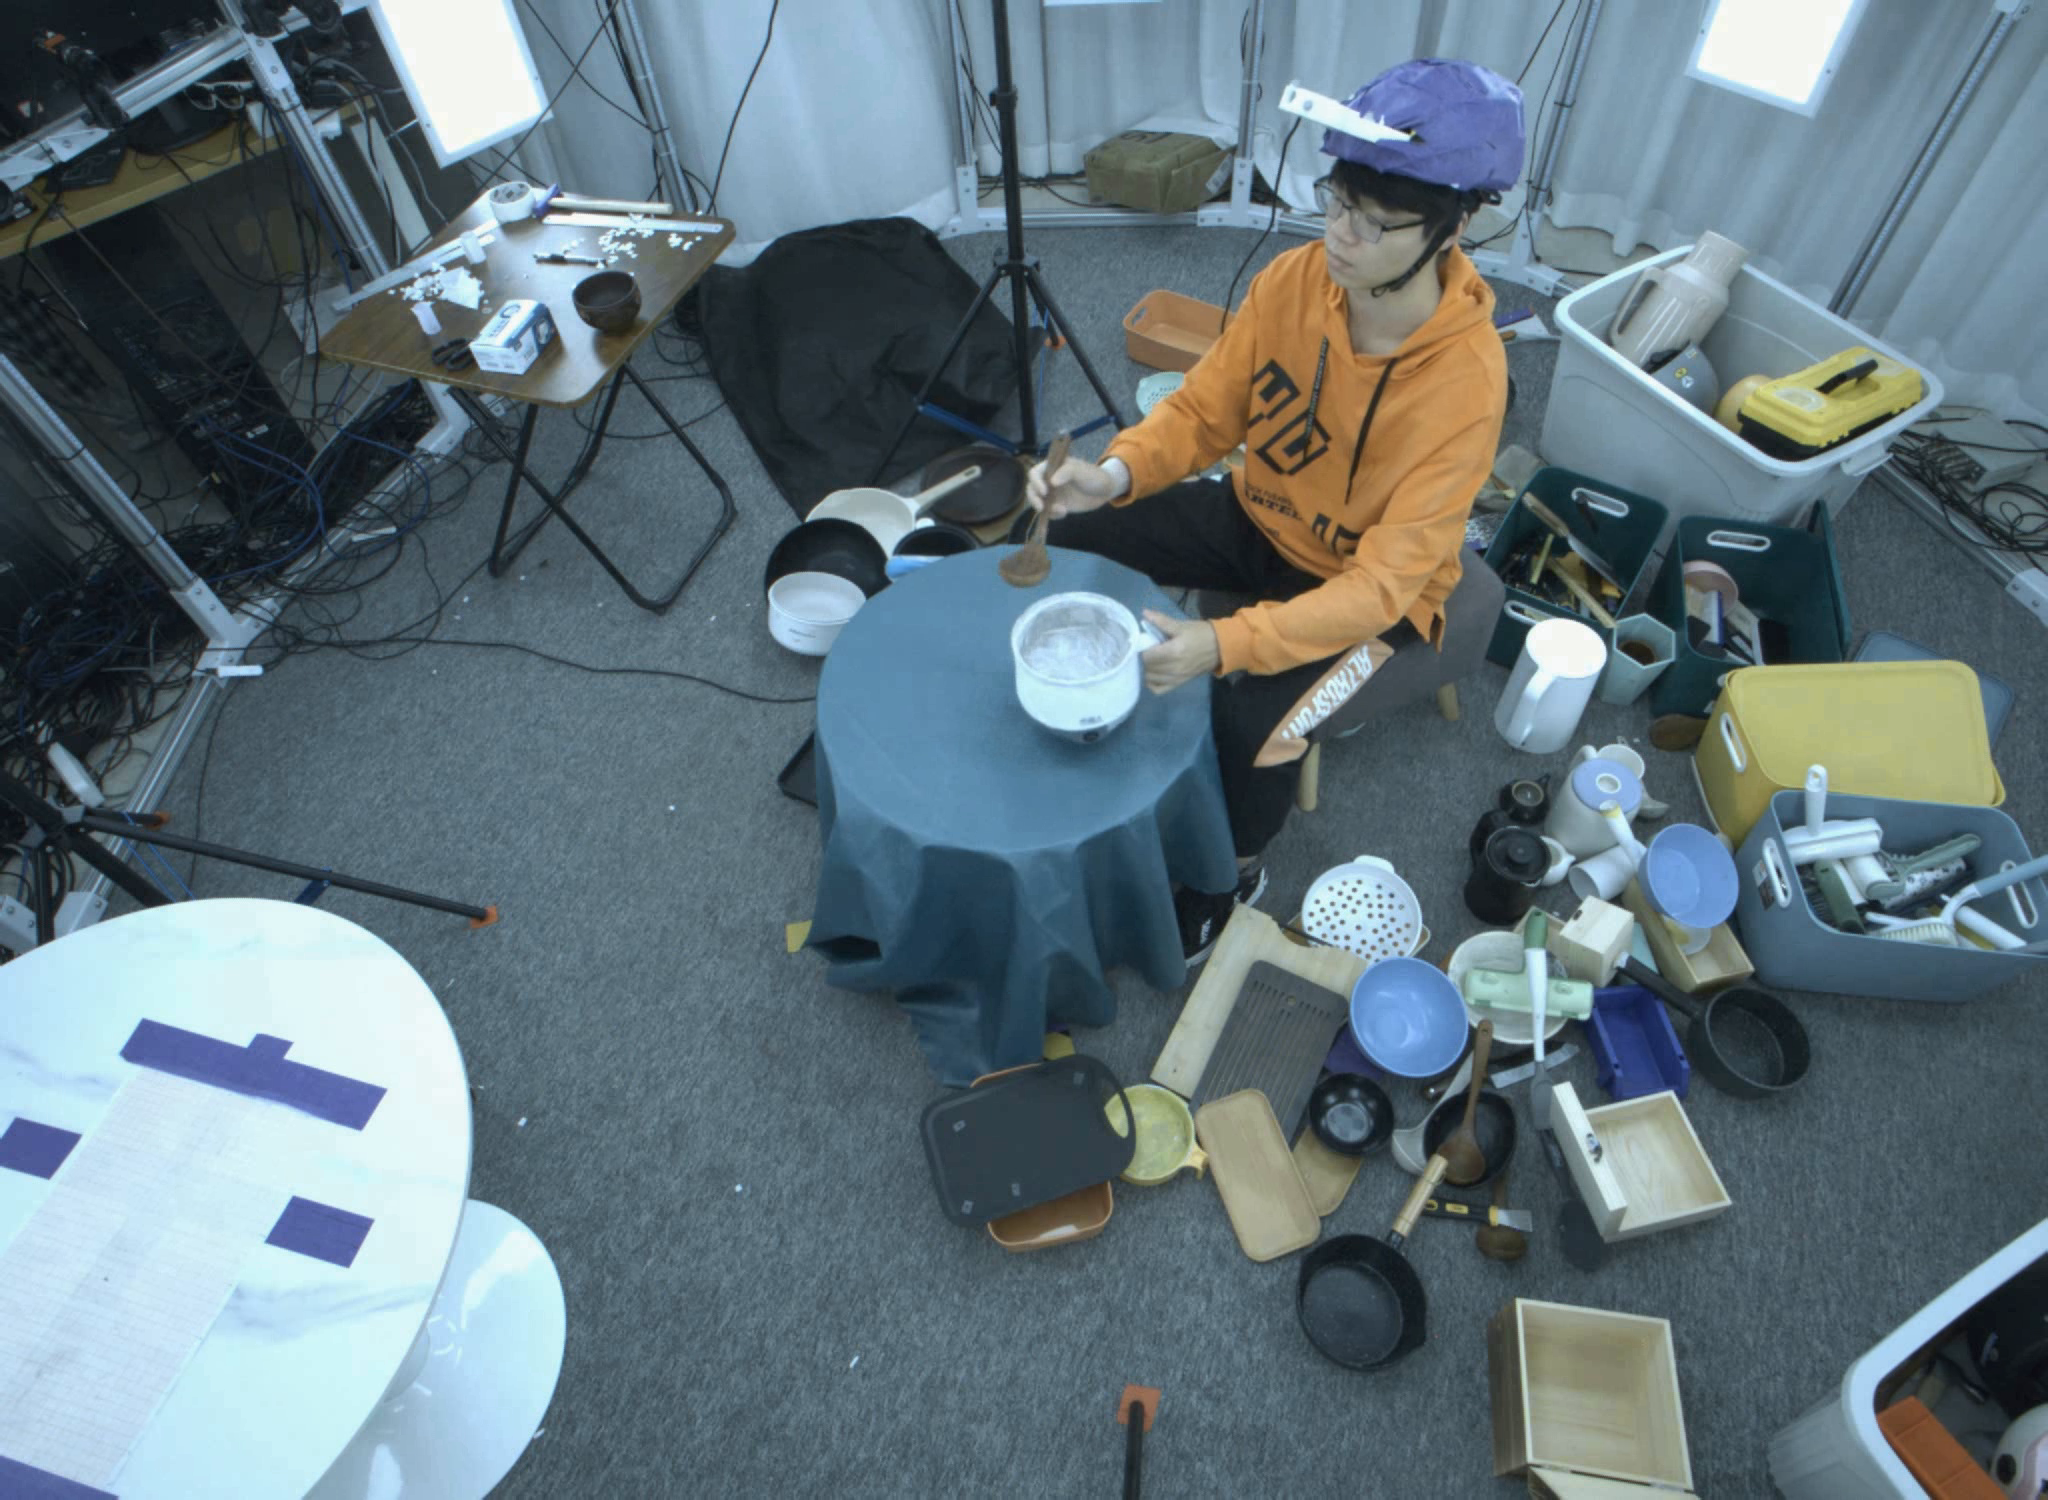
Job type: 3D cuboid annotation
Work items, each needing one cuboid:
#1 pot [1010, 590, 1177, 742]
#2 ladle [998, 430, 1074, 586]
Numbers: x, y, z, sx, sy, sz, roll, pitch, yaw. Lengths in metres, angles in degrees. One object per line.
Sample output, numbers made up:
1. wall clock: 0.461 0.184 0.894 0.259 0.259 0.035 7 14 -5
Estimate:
1. pot: 0.101 -0.124 1.741 0.235 0.138 0.176 -12 52 -6
2. ladle: 0.026 -0.351 1.736 0.076 0.066 0.260 13 82 11
